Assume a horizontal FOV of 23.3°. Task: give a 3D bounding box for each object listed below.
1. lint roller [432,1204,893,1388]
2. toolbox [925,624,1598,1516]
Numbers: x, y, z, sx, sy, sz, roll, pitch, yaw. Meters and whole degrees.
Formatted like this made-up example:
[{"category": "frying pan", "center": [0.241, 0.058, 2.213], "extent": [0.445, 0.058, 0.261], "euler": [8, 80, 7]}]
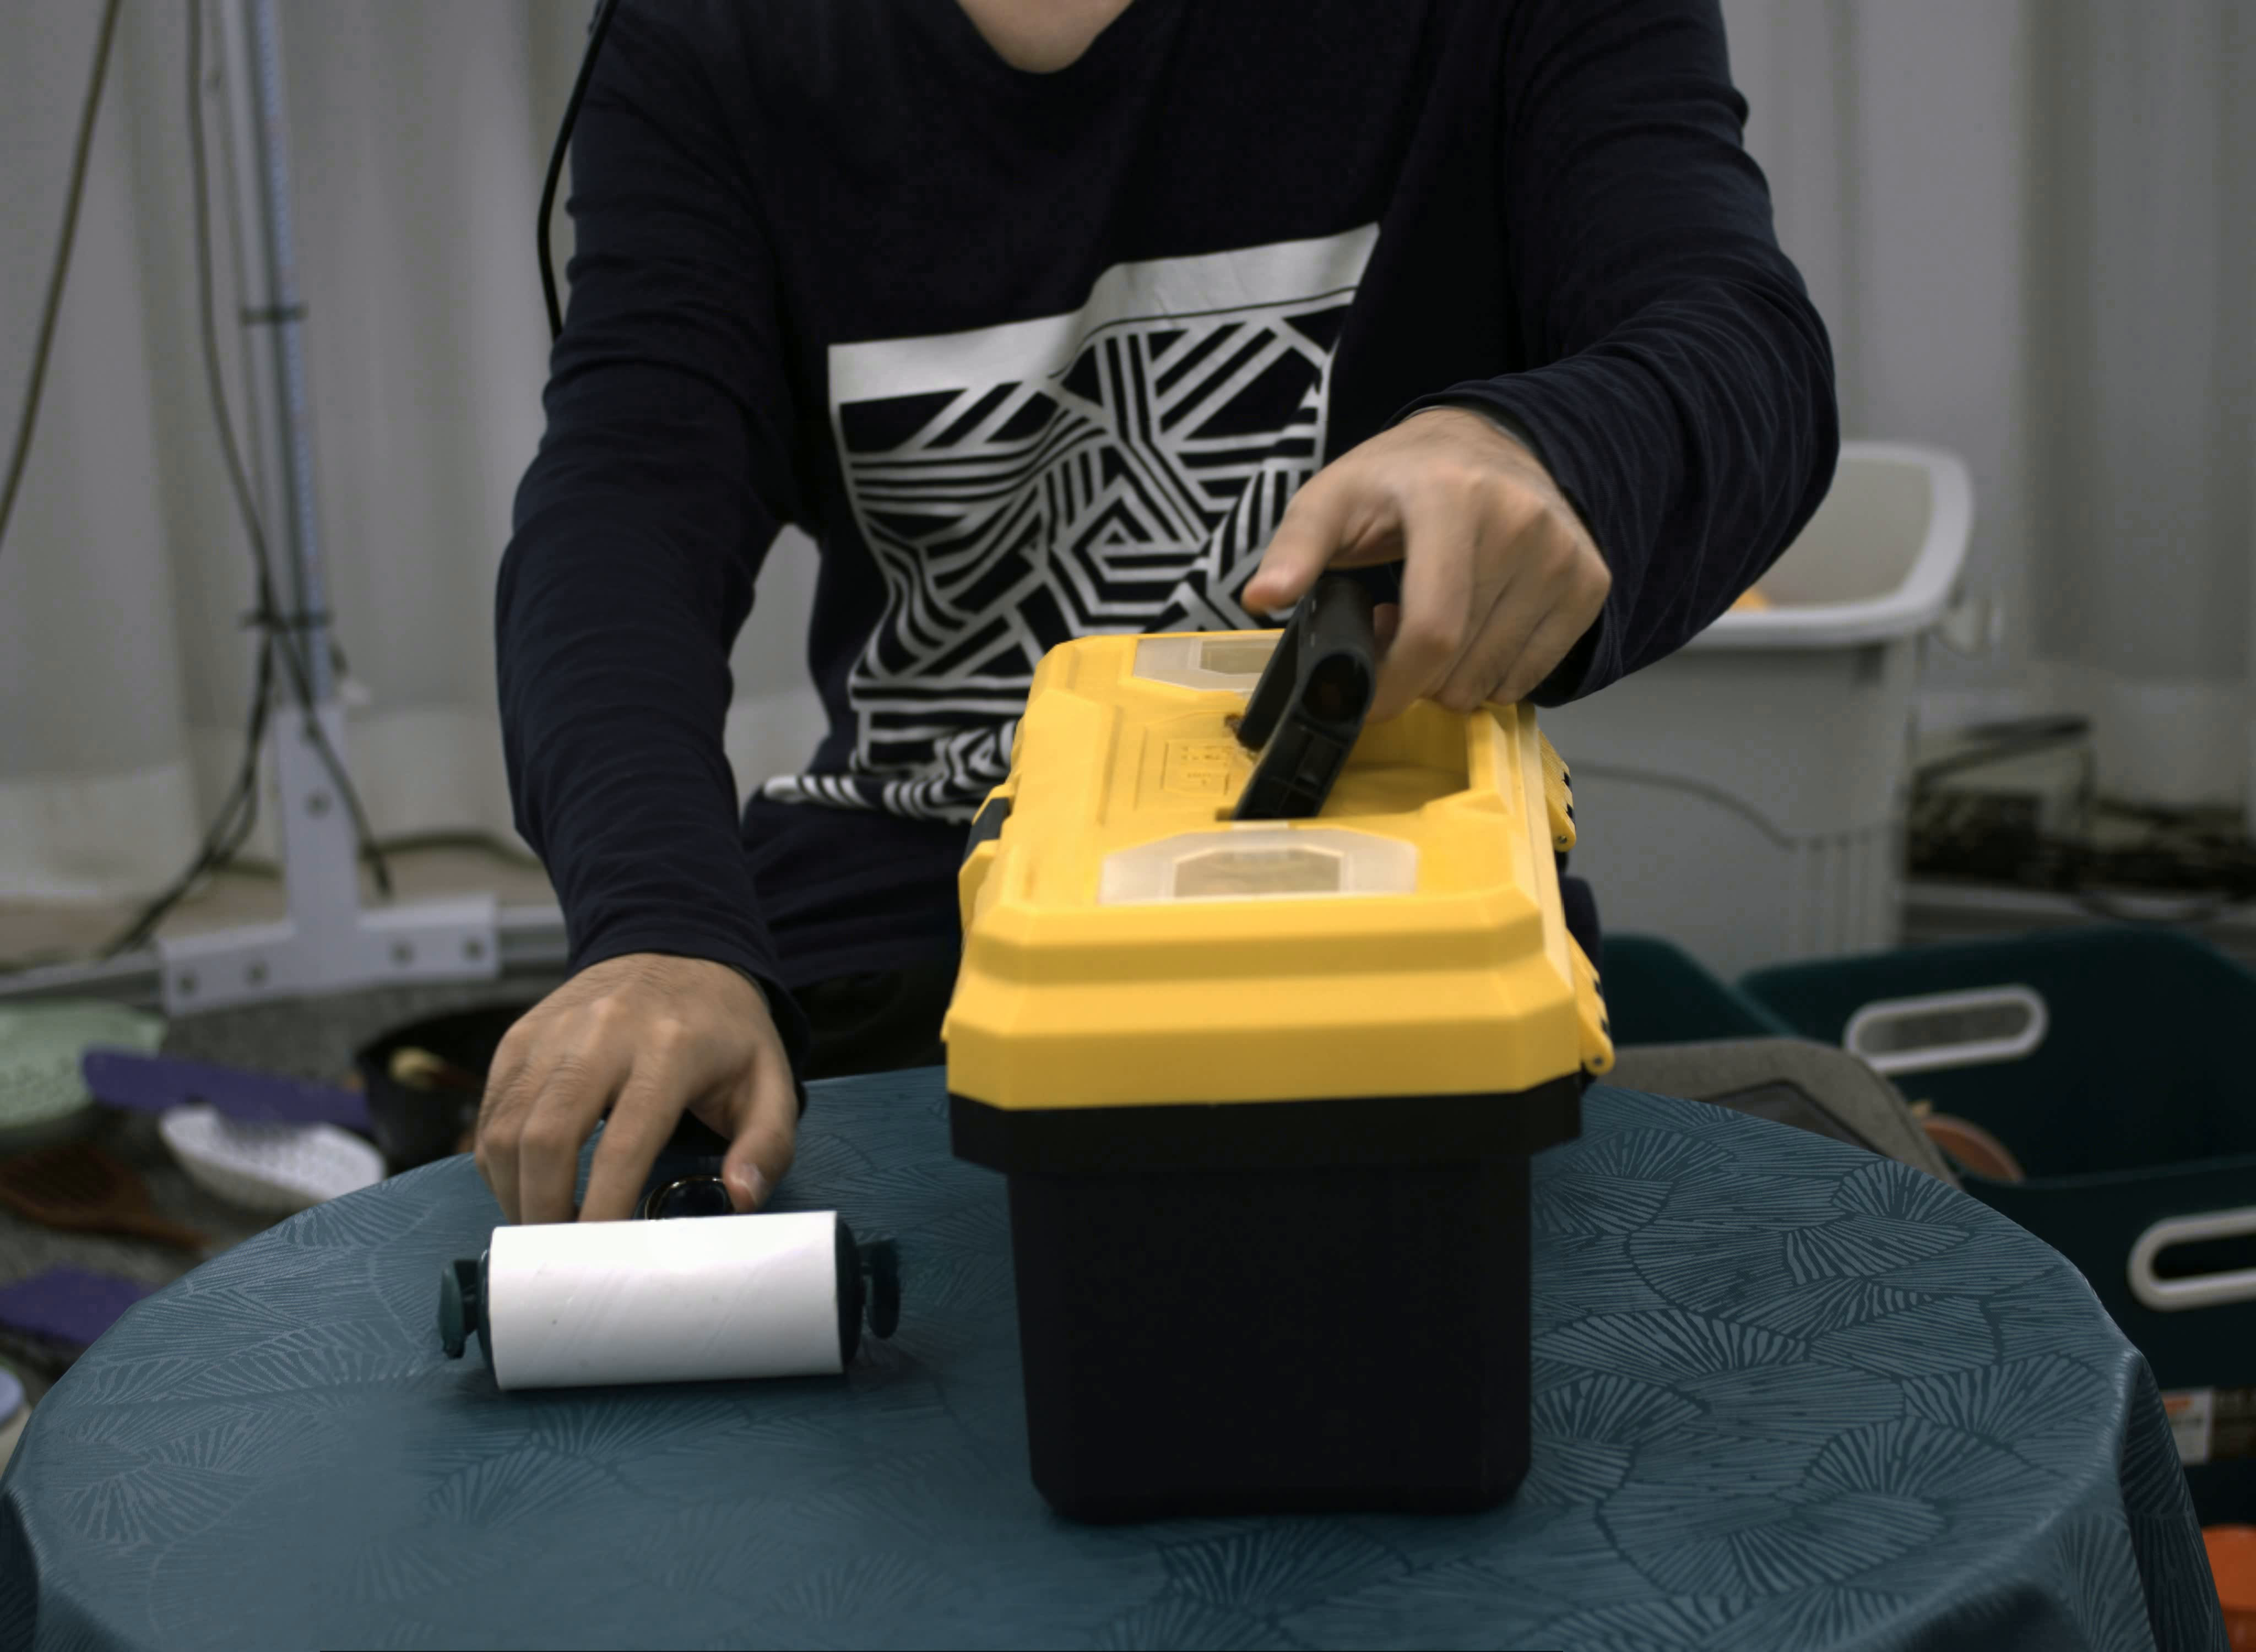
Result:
[{"category": "lint roller", "center": [-0.134, 0.123, 1.634], "extent": [0.134, 0.048, 0.181], "euler": [-4, 11, 0]}, {"category": "toolbox", "center": [0.040, 0.061, 1.576], "extent": [0.181, 0.172, 0.353], "euler": [-1, 14, 2]}]
